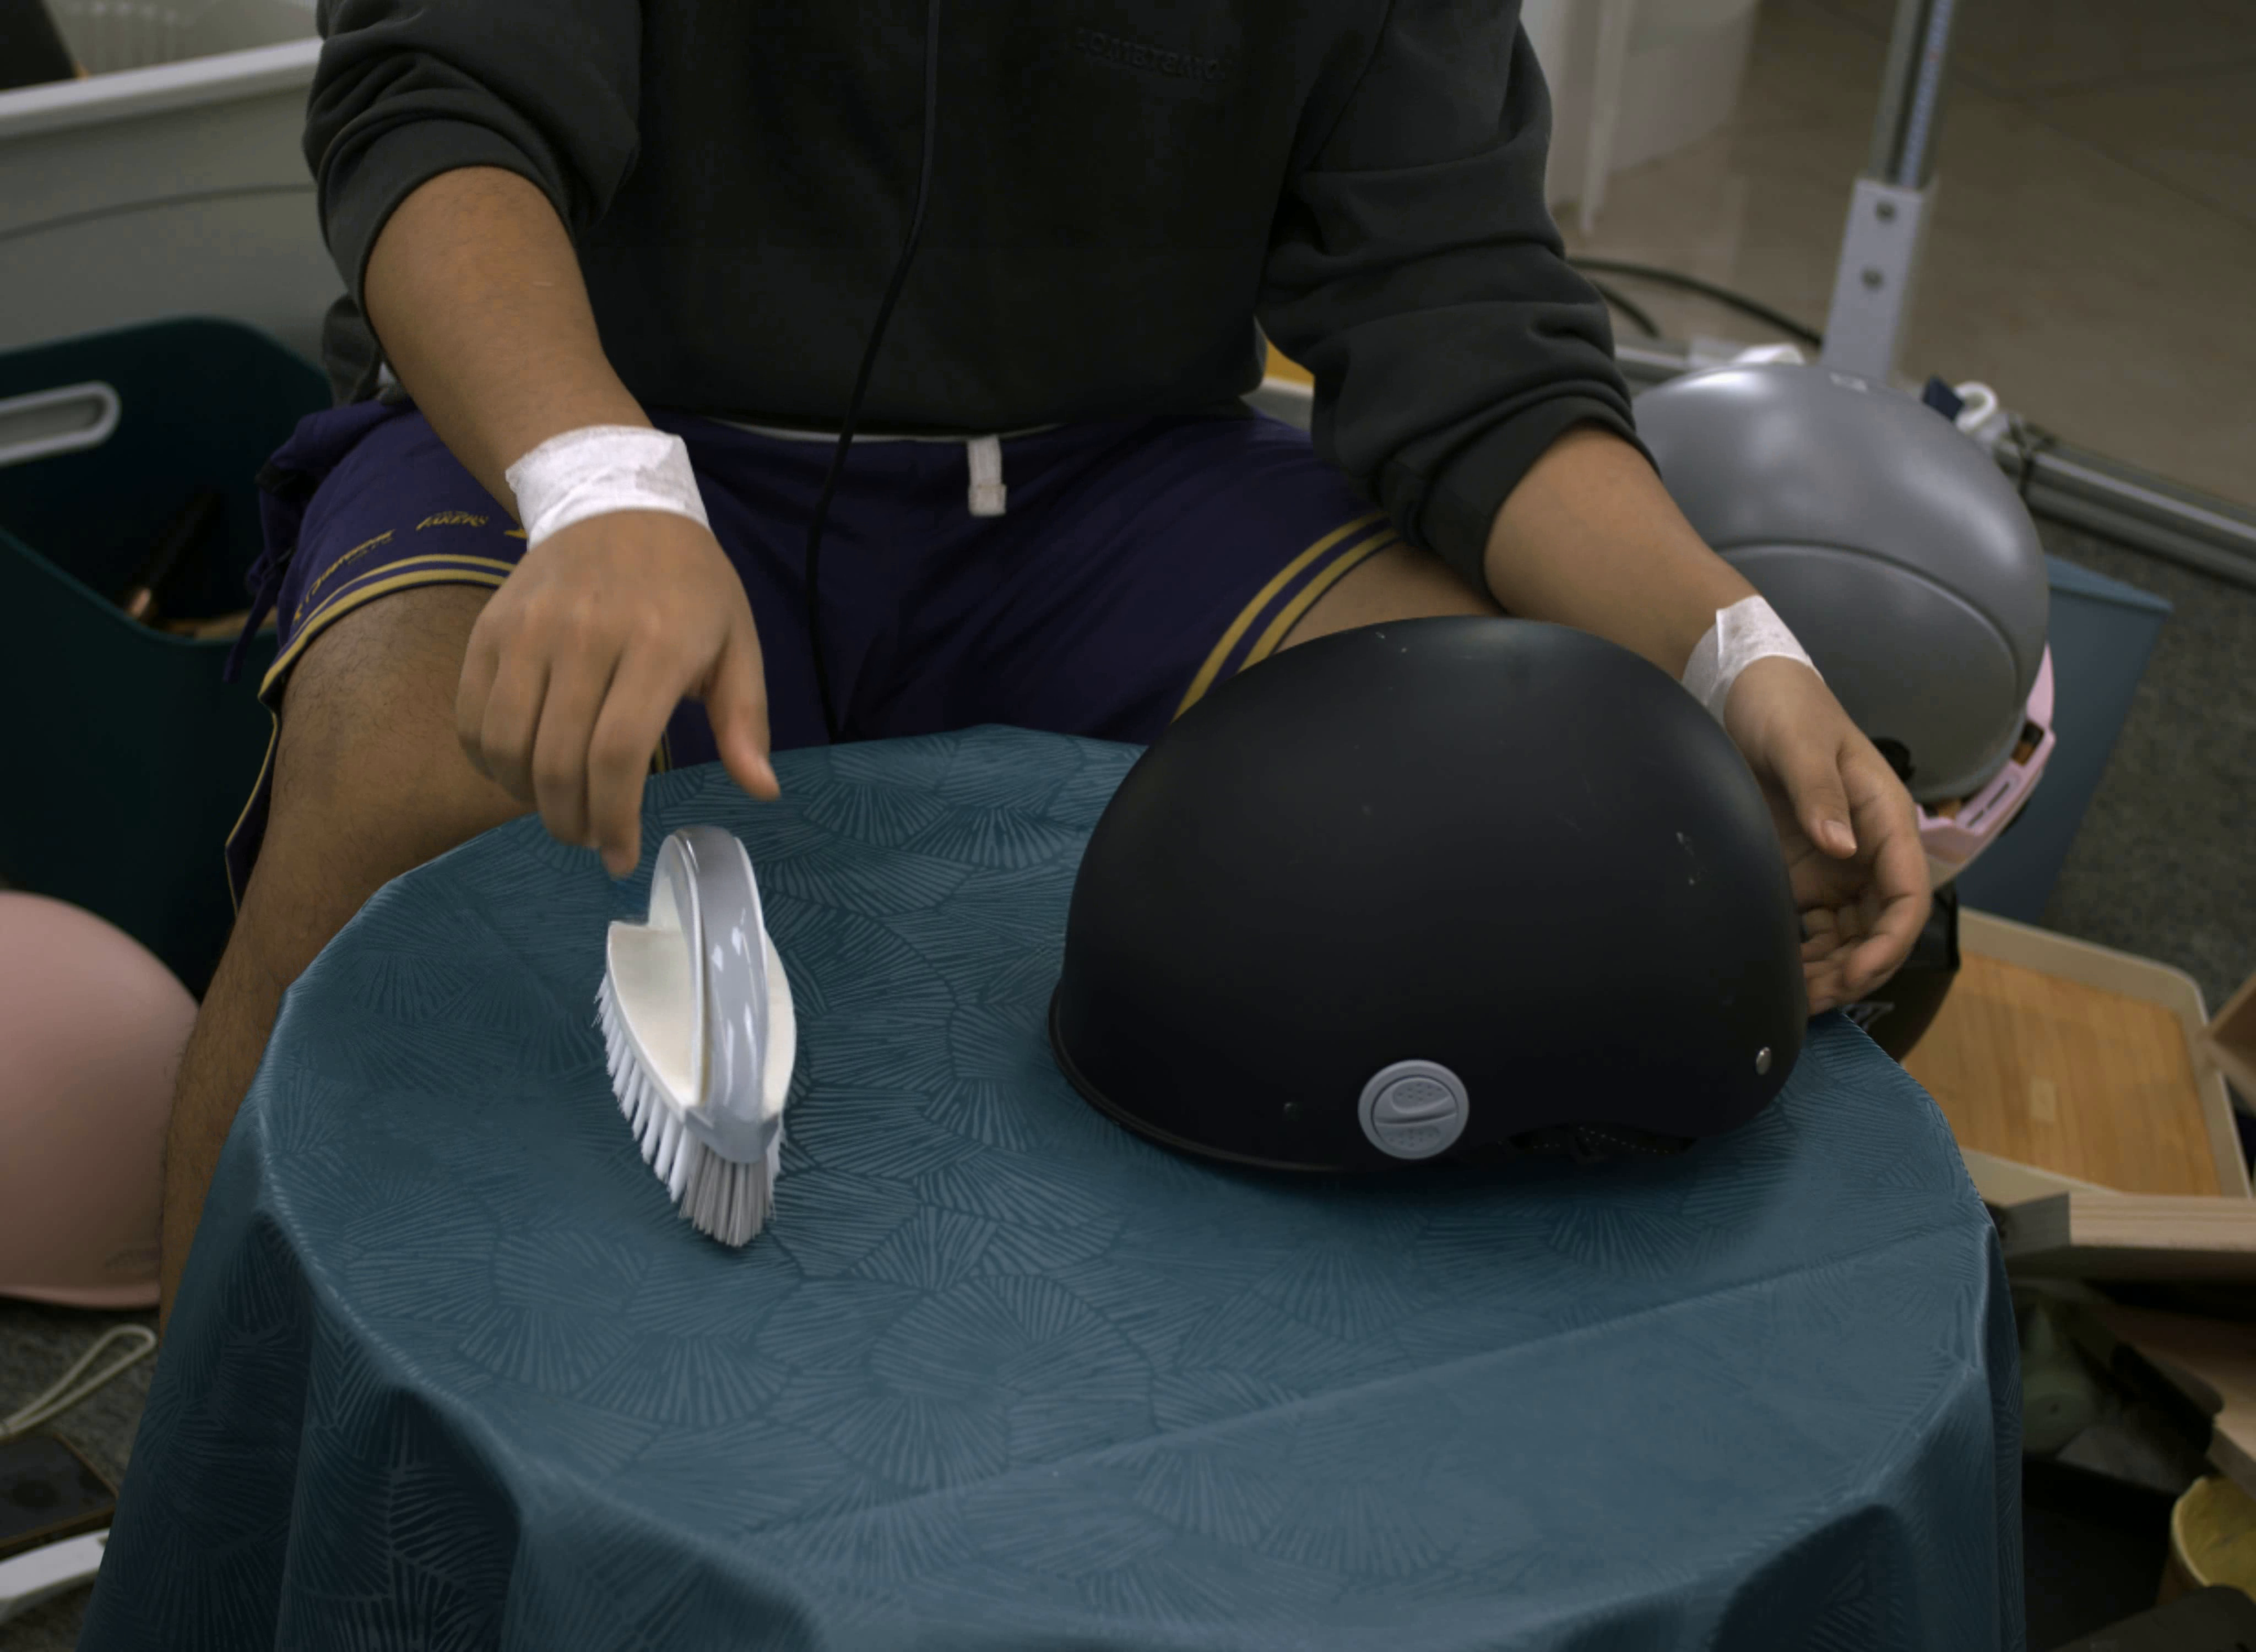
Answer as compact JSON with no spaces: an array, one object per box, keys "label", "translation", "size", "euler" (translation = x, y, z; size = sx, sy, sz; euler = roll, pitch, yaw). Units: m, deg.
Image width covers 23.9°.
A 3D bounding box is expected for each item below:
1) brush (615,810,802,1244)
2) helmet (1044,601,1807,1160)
[{"label":"brush","translation":[-0.138,0.059,1.795],"size":[0.061,0.094,0.177],"euler":[-1,30,-11]},{"label":"helmet","translation":[0.110,0.009,1.875],"size":[0.272,0.166,0.232],"euler":[-2,27,-12]}]
